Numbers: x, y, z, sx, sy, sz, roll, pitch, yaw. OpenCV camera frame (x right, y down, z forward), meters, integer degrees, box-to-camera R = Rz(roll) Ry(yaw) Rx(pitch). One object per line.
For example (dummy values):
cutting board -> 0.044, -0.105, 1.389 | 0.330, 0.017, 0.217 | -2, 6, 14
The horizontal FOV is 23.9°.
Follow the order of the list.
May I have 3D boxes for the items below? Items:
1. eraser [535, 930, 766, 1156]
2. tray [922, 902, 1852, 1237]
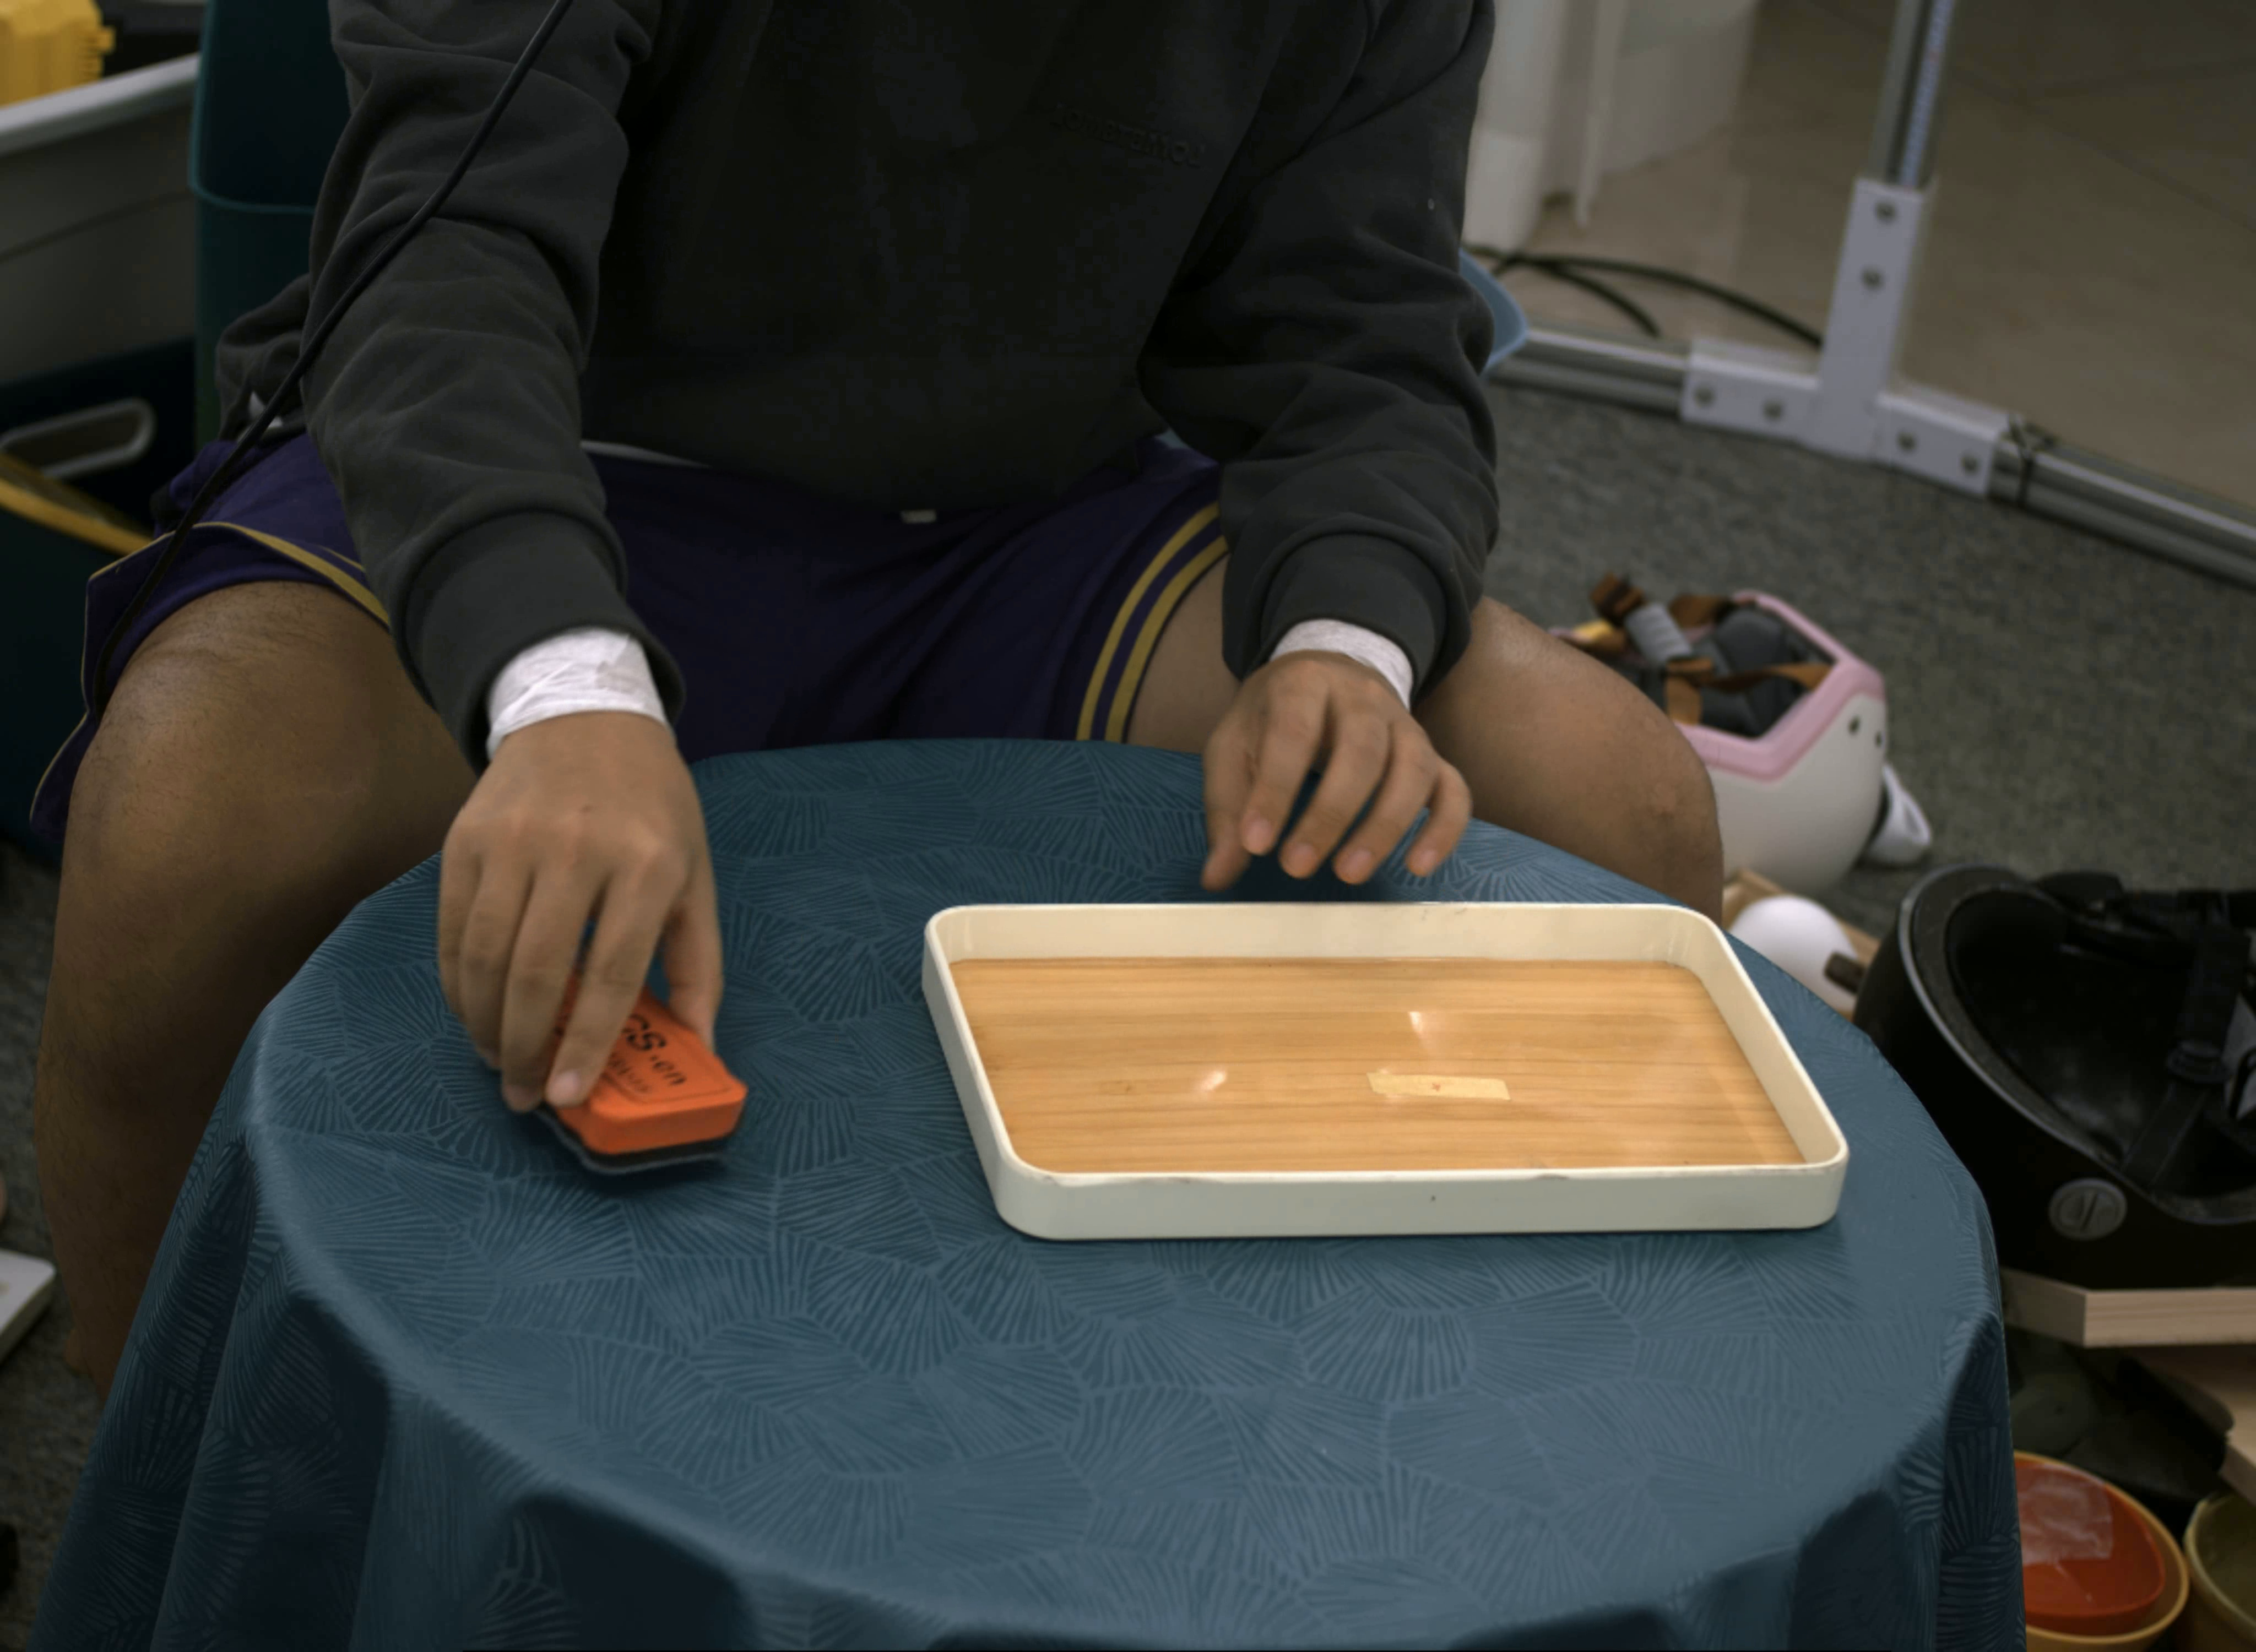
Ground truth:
eraser -> -0.162, 0.073, 1.802 | 0.058, 0.023, 0.109 | -2, 31, -20
tray -> 0.087, 0.083, 1.870 | 0.299, 0.027, 0.193 | 0, 28, -12
